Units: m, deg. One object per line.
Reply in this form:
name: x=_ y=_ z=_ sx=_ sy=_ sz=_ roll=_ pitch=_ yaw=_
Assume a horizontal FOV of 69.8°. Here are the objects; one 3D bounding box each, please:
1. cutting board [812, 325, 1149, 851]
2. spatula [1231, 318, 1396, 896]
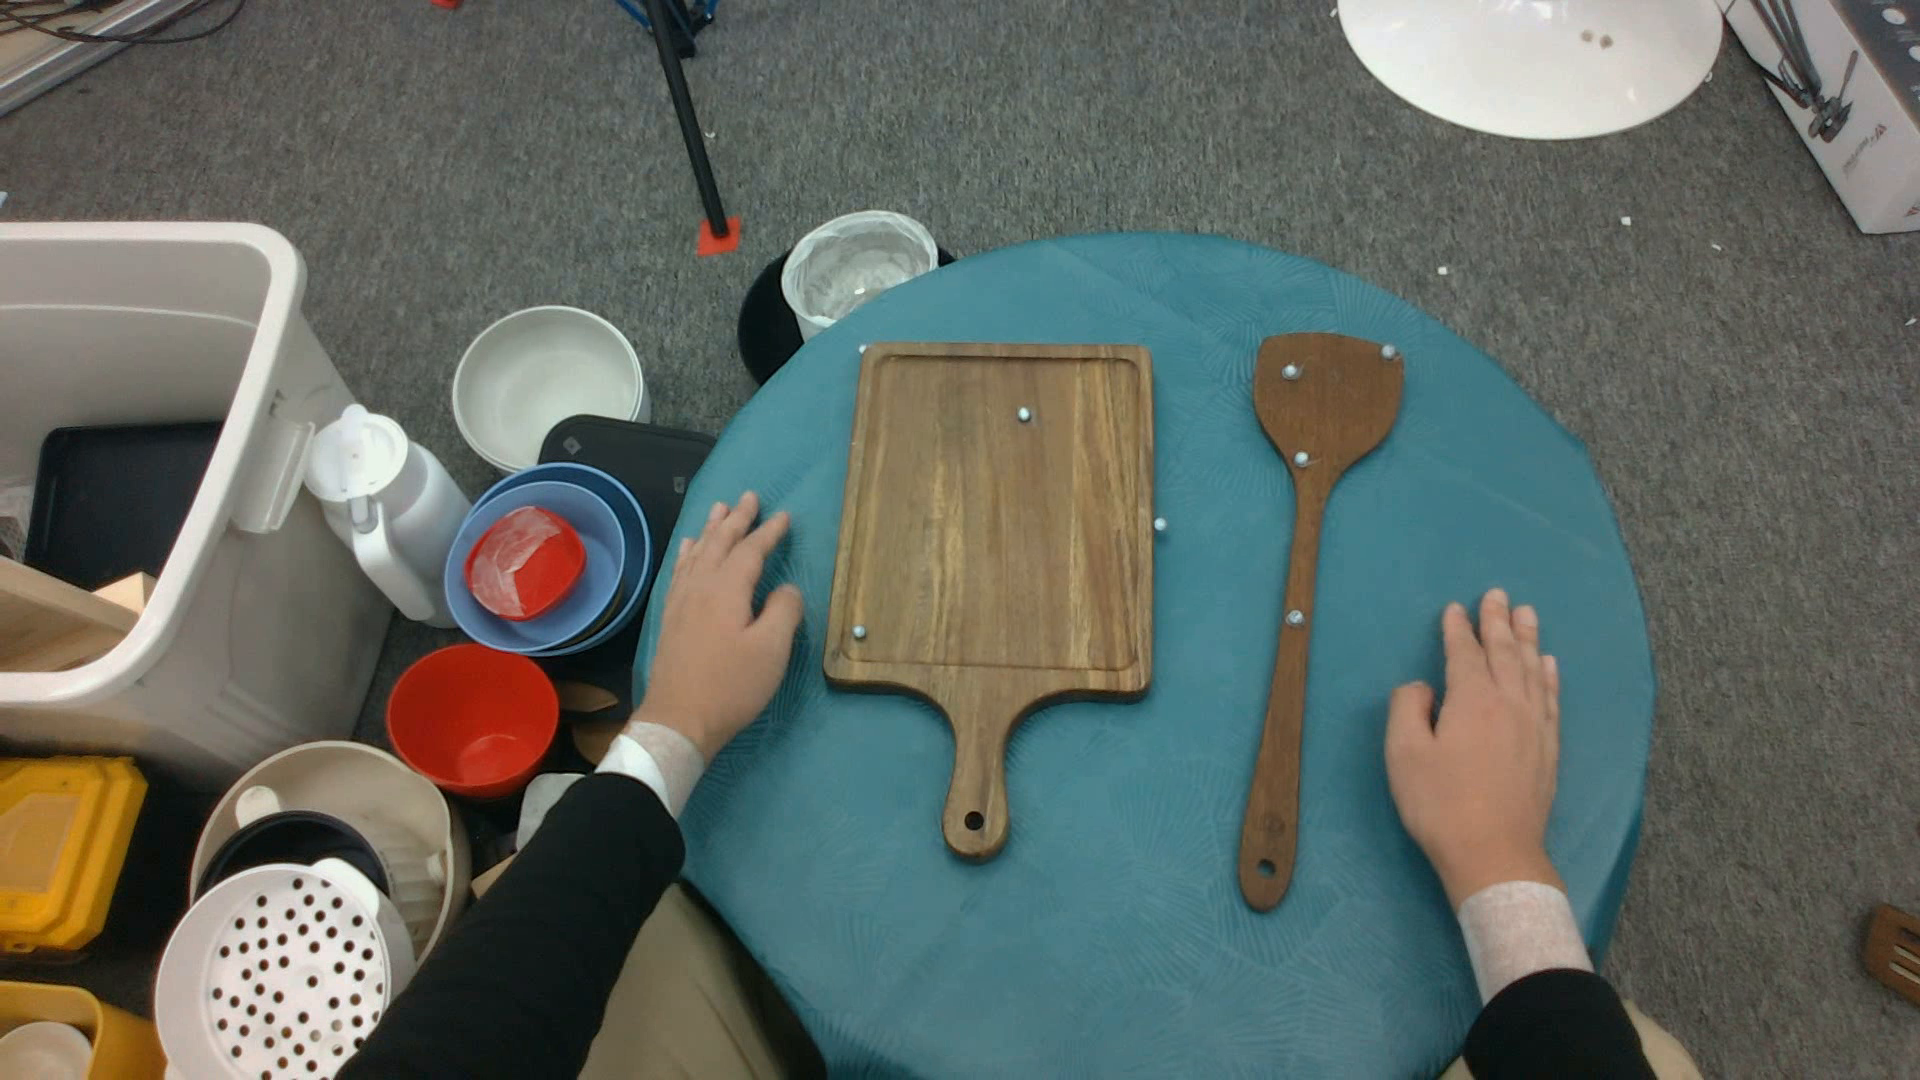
cutting board: x=0.014 y=0.014 z=0.841 sx=0.201 sy=0.023 sz=0.353 roll=1 pitch=61 yaw=5
spatula: x=0.200 y=0.022 z=0.827 sx=0.096 sy=0.016 sz=0.387 roll=9 pitch=63 yaw=10
